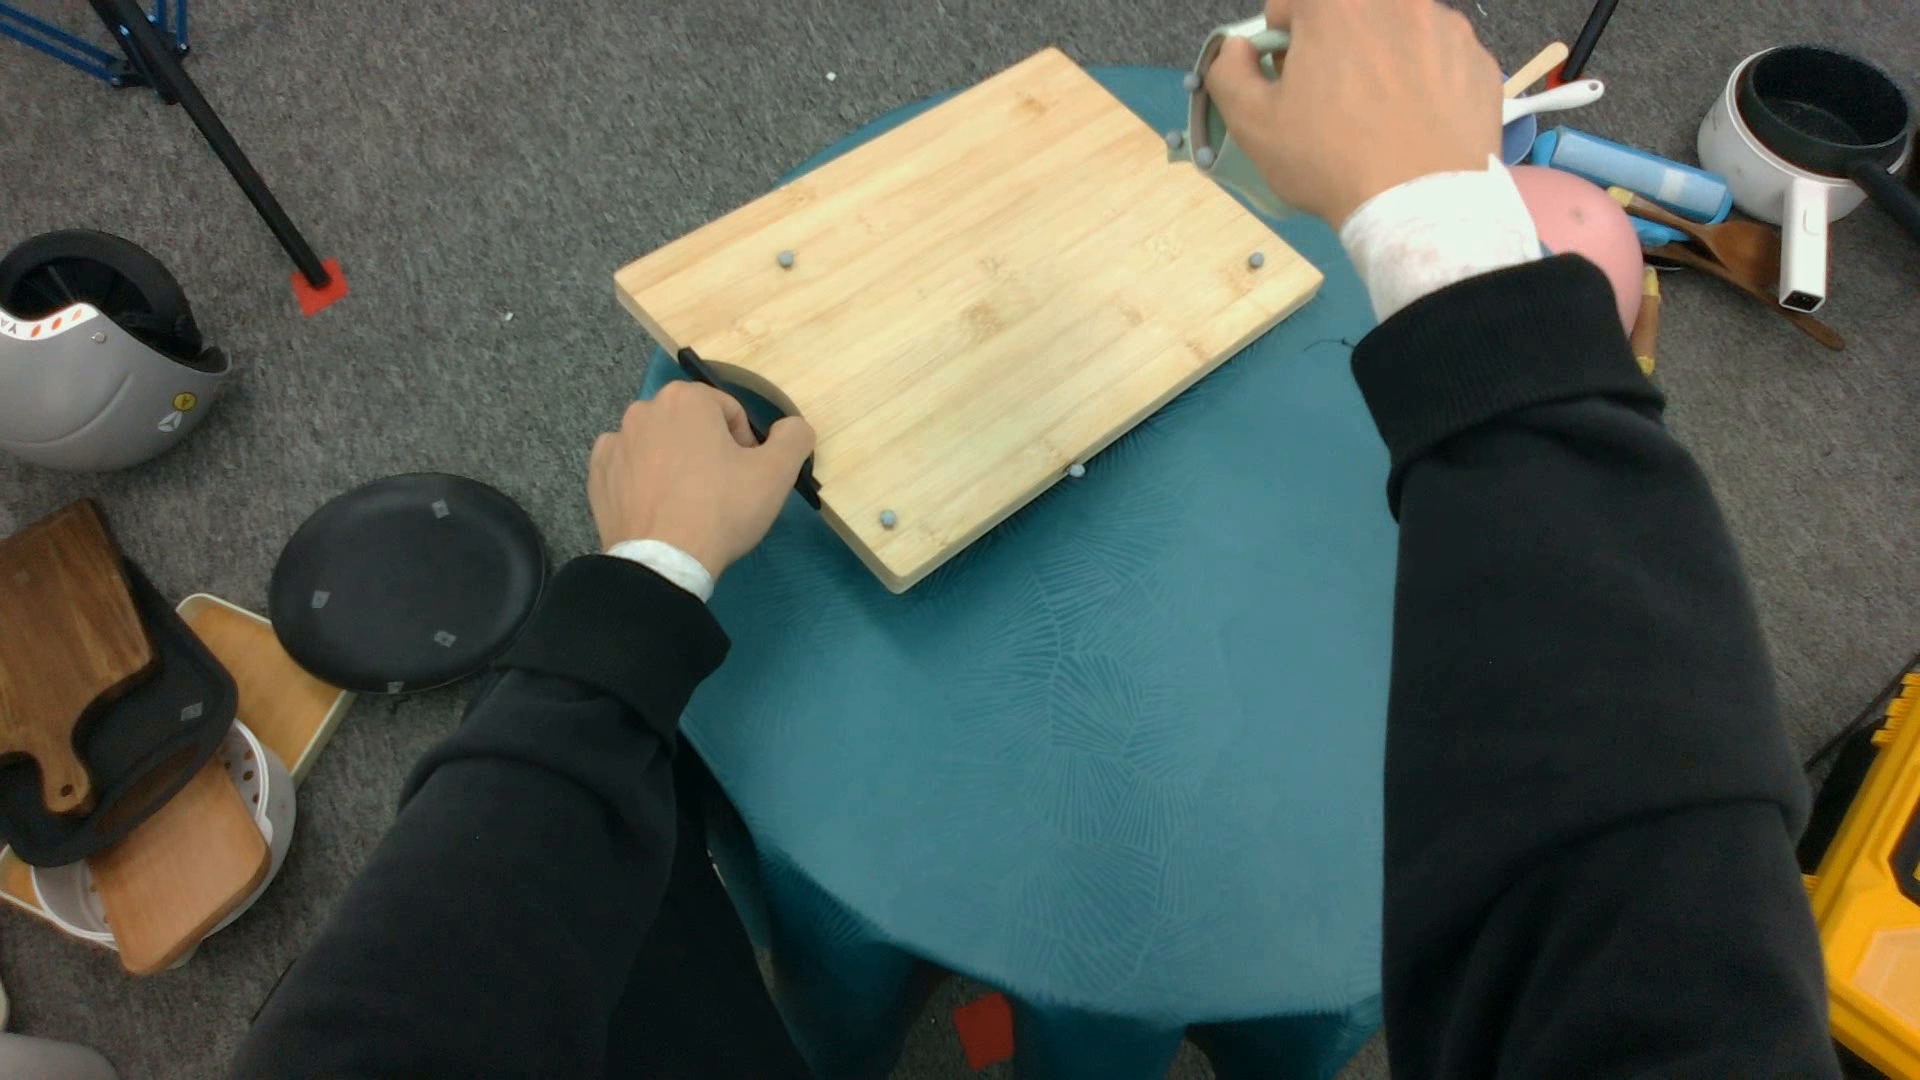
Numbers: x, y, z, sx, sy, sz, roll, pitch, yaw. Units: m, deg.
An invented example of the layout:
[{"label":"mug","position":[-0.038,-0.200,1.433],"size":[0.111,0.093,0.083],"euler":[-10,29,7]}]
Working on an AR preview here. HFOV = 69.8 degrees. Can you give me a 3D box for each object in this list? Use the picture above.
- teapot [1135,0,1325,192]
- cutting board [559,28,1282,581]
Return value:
[{"label":"teapot","position":[0.122,-0.204,0.601],"size":[0.061,0.136,0.096],"euler":[2,84,-8]},{"label":"cutting board","position":[-0.010,-0.155,0.788],"size":[0.350,0.023,0.251],"euler":[-37,72,-28]}]
